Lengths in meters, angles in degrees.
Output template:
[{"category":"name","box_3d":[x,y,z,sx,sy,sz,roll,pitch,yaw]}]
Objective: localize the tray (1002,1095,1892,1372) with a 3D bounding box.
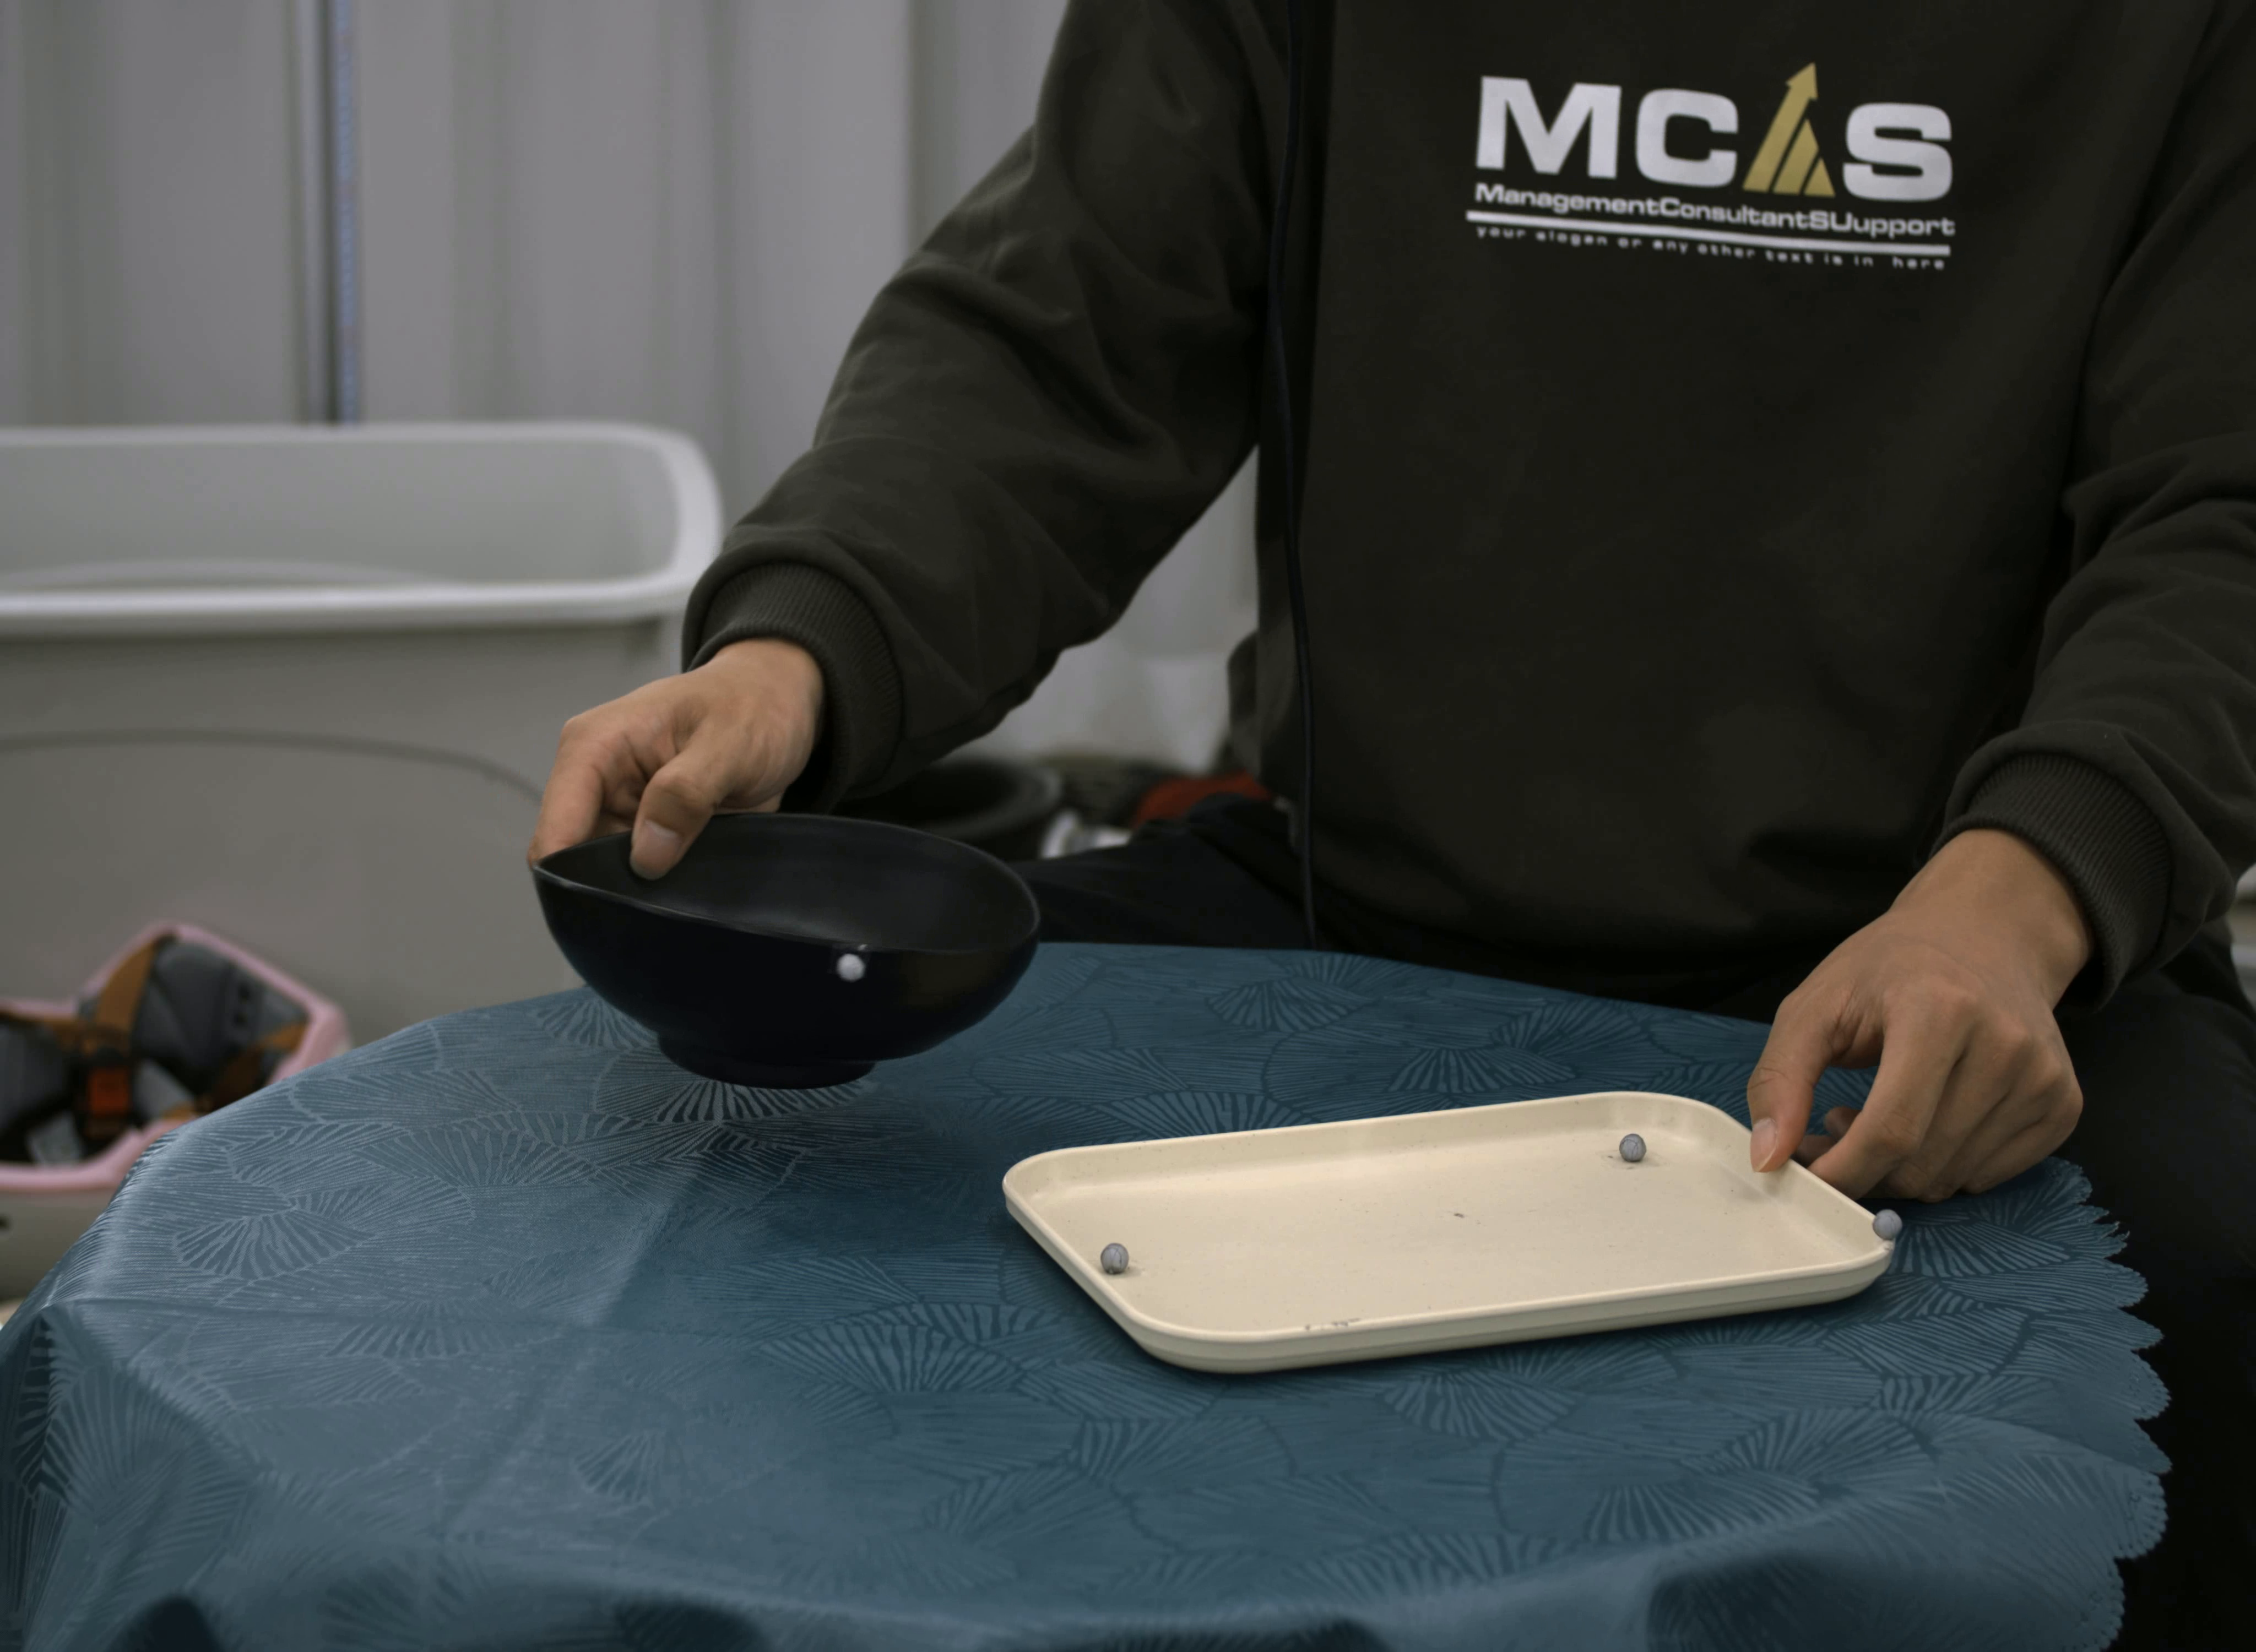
[{"category":"tray","box_3d":[0.093,0.121,1.573,0.240,0.017,0.169,-5,16,-20]}]

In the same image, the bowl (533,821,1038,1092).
[{"category":"bowl","box_3d":[-0.111,0.044,1.653,0.168,0.067,0.138,12,15,25]}]
